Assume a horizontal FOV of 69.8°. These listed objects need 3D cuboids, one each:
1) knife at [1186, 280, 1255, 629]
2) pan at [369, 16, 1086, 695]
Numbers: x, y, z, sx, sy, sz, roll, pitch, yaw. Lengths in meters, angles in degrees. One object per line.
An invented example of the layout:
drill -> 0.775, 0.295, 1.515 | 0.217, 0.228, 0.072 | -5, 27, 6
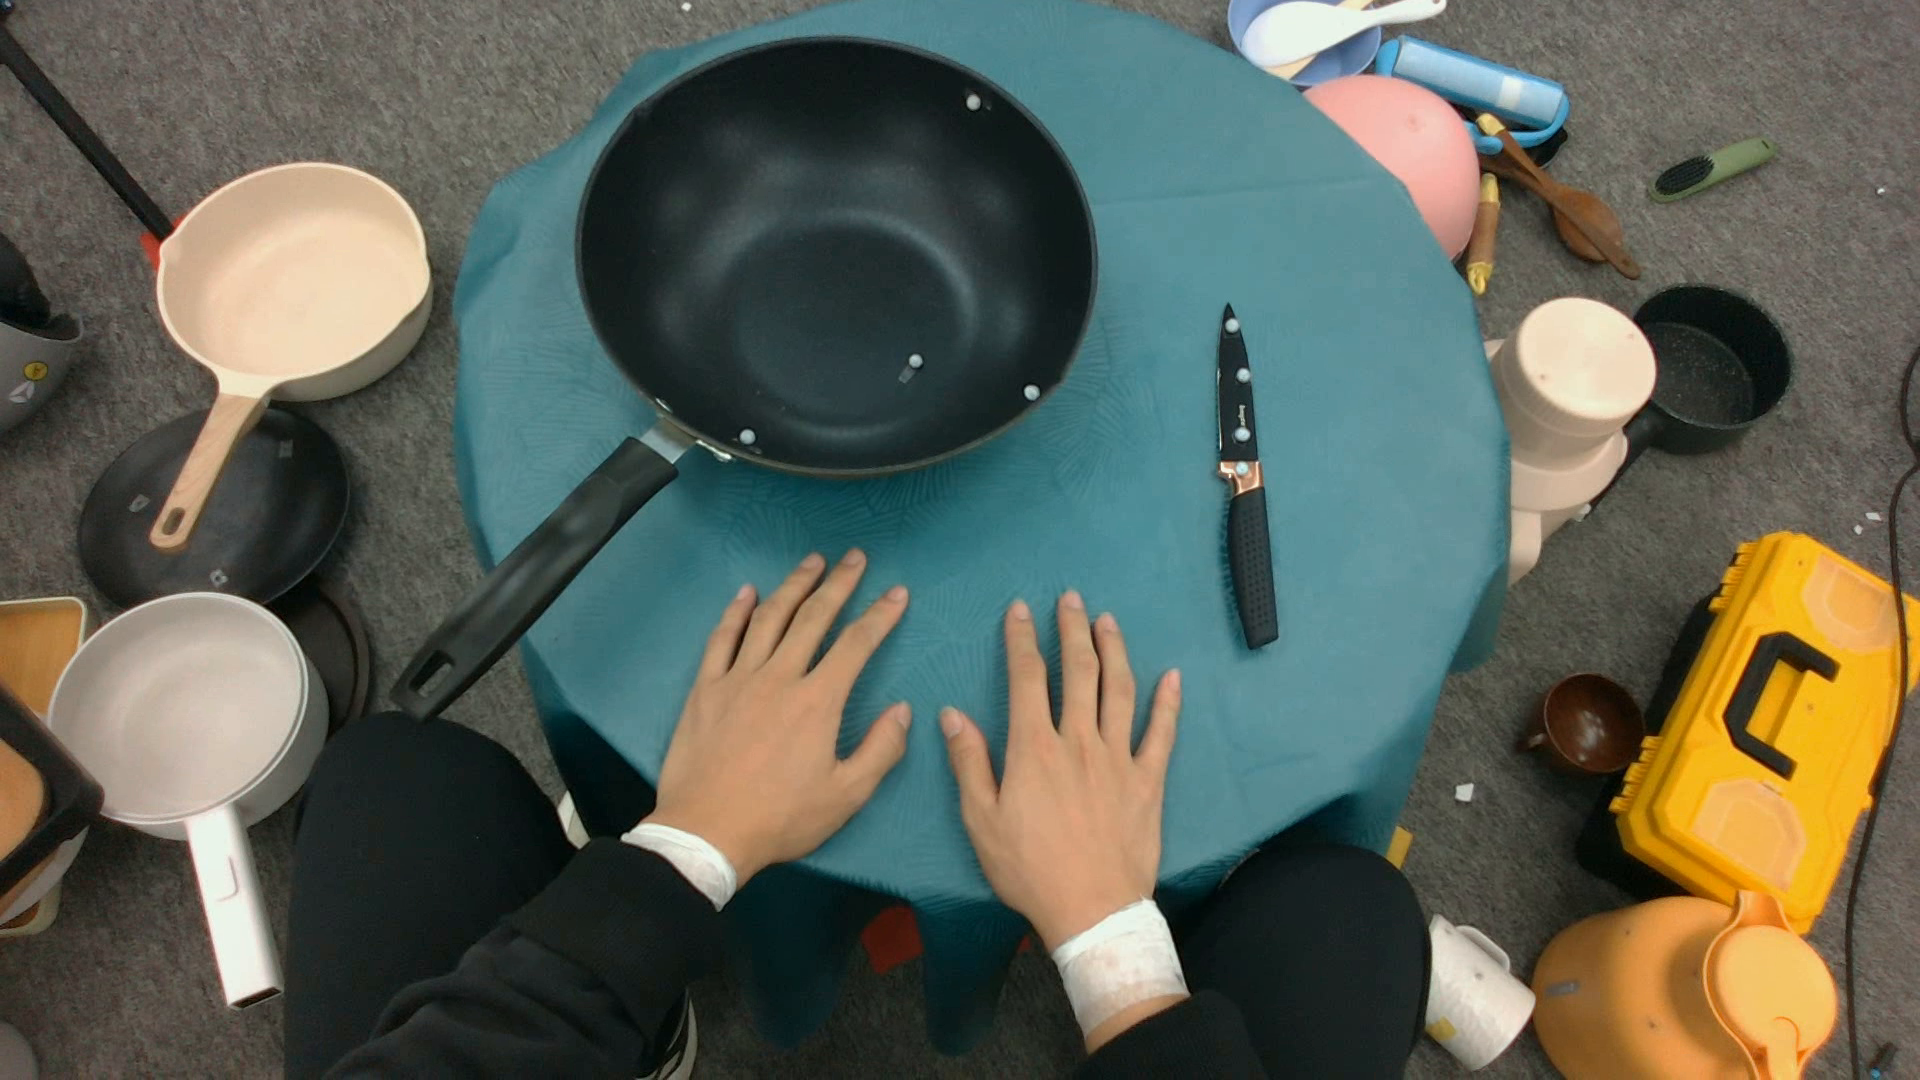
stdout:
knife -> 0.149, -0.055, 0.793 | 0.026, 0.017, 0.226 | -5, 66, 11
pan -> -0.127, -0.089, 0.745 | 0.288, 0.086, 0.465 | 34, 70, 9
